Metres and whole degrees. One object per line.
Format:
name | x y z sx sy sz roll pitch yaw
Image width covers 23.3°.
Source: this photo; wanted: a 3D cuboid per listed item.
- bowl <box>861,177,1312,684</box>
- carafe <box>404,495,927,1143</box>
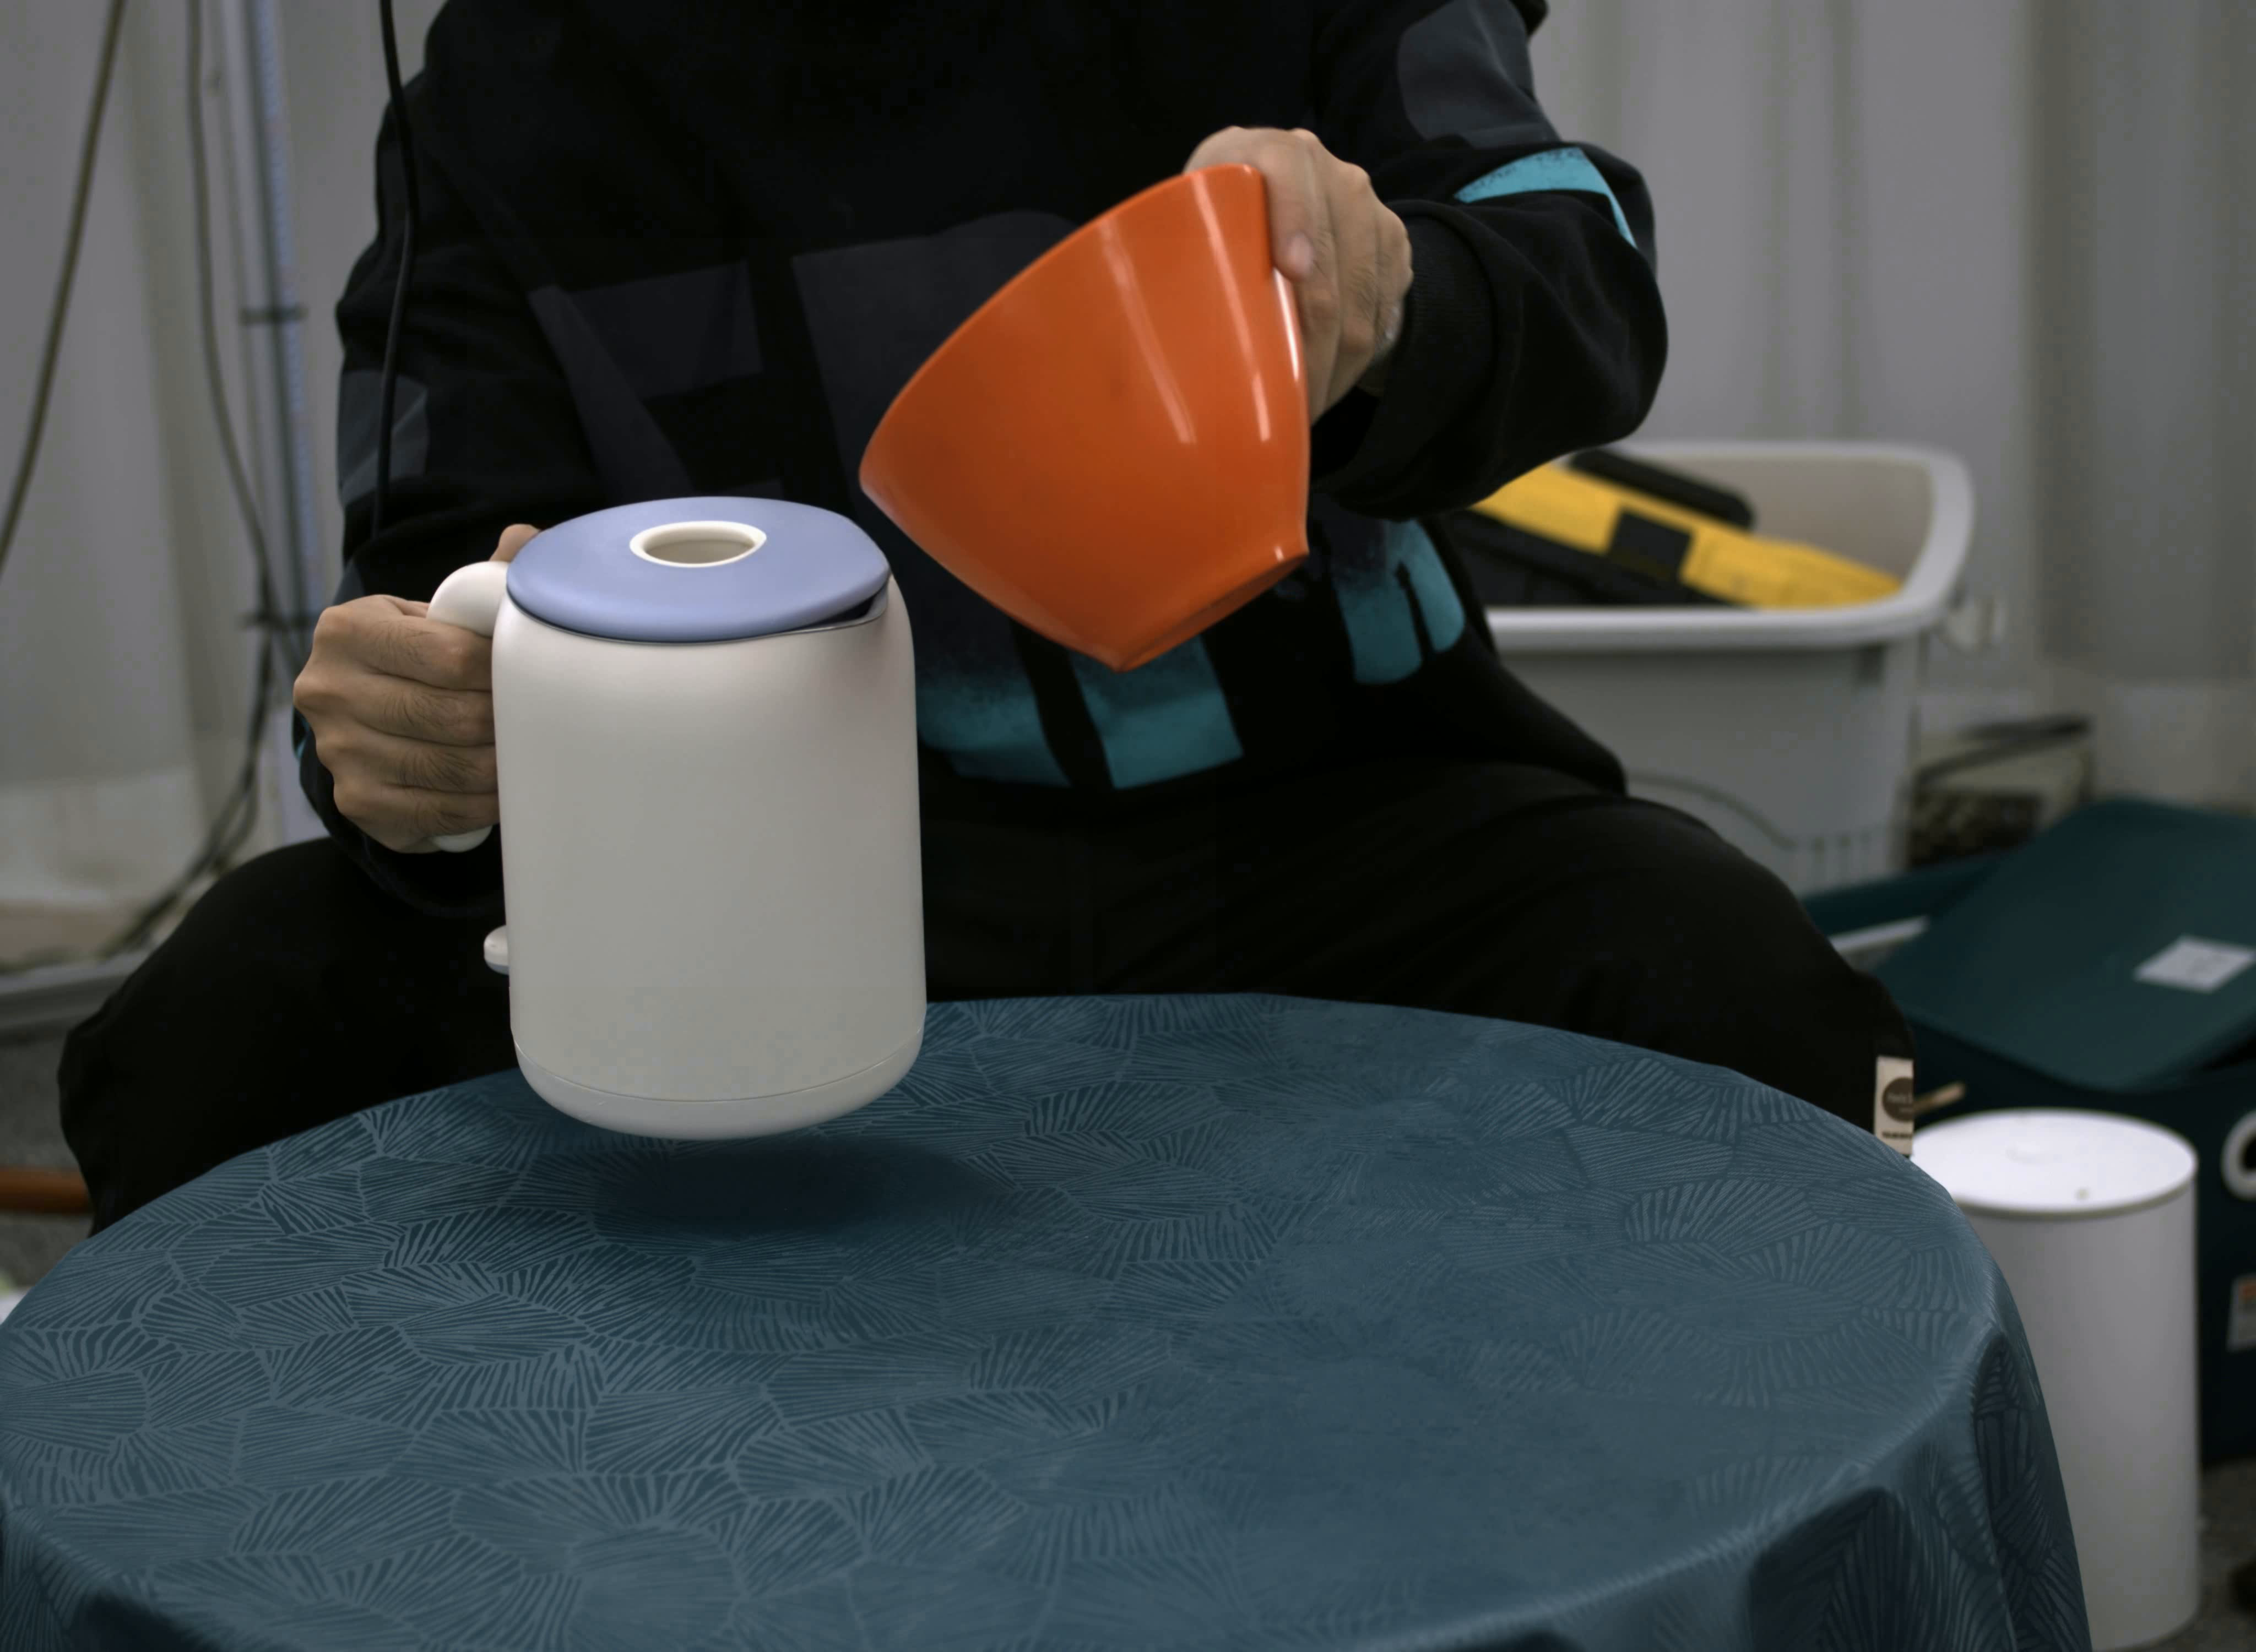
bowl | 0.003 -0.106 1.592 0.148 0.105 0.147 -31 -4 -3
carafe | -0.151 -0.007 1.717 0.192 0.181 0.132 10 22 33
